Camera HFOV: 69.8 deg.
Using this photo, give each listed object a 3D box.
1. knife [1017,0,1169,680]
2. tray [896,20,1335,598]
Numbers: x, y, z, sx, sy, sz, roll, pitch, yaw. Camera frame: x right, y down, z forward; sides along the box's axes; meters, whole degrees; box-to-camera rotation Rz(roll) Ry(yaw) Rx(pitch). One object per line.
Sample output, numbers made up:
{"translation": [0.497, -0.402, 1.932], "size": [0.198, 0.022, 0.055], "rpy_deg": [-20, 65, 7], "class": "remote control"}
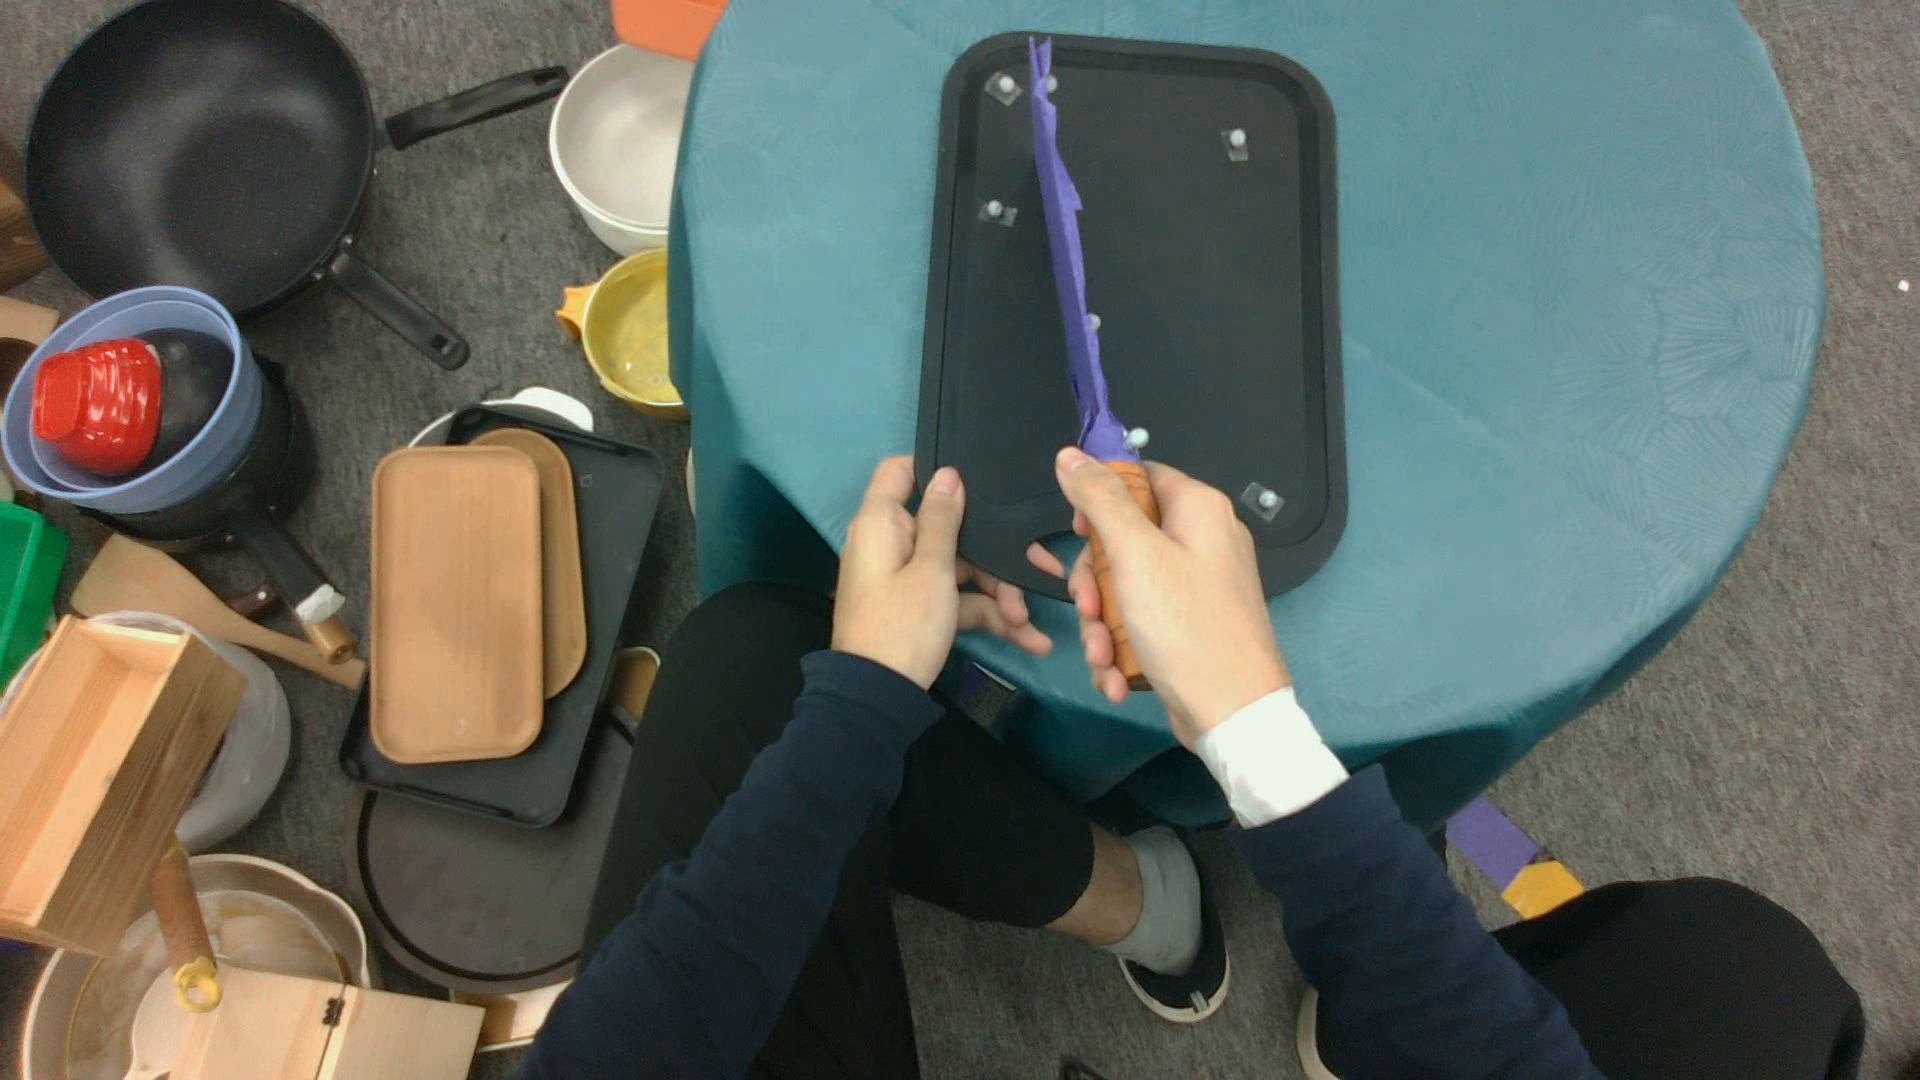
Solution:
{"translation": [0.052, -0.084, 0.610], "size": [0.032, 0.103, 0.316], "rpy_deg": [-5, 69, -1], "class": "knife"}
{"translation": [0.081, -0.126, 0.685], "size": [0.211, 0.010, 0.326], "rpy_deg": [5, 68, -3], "class": "tray"}
